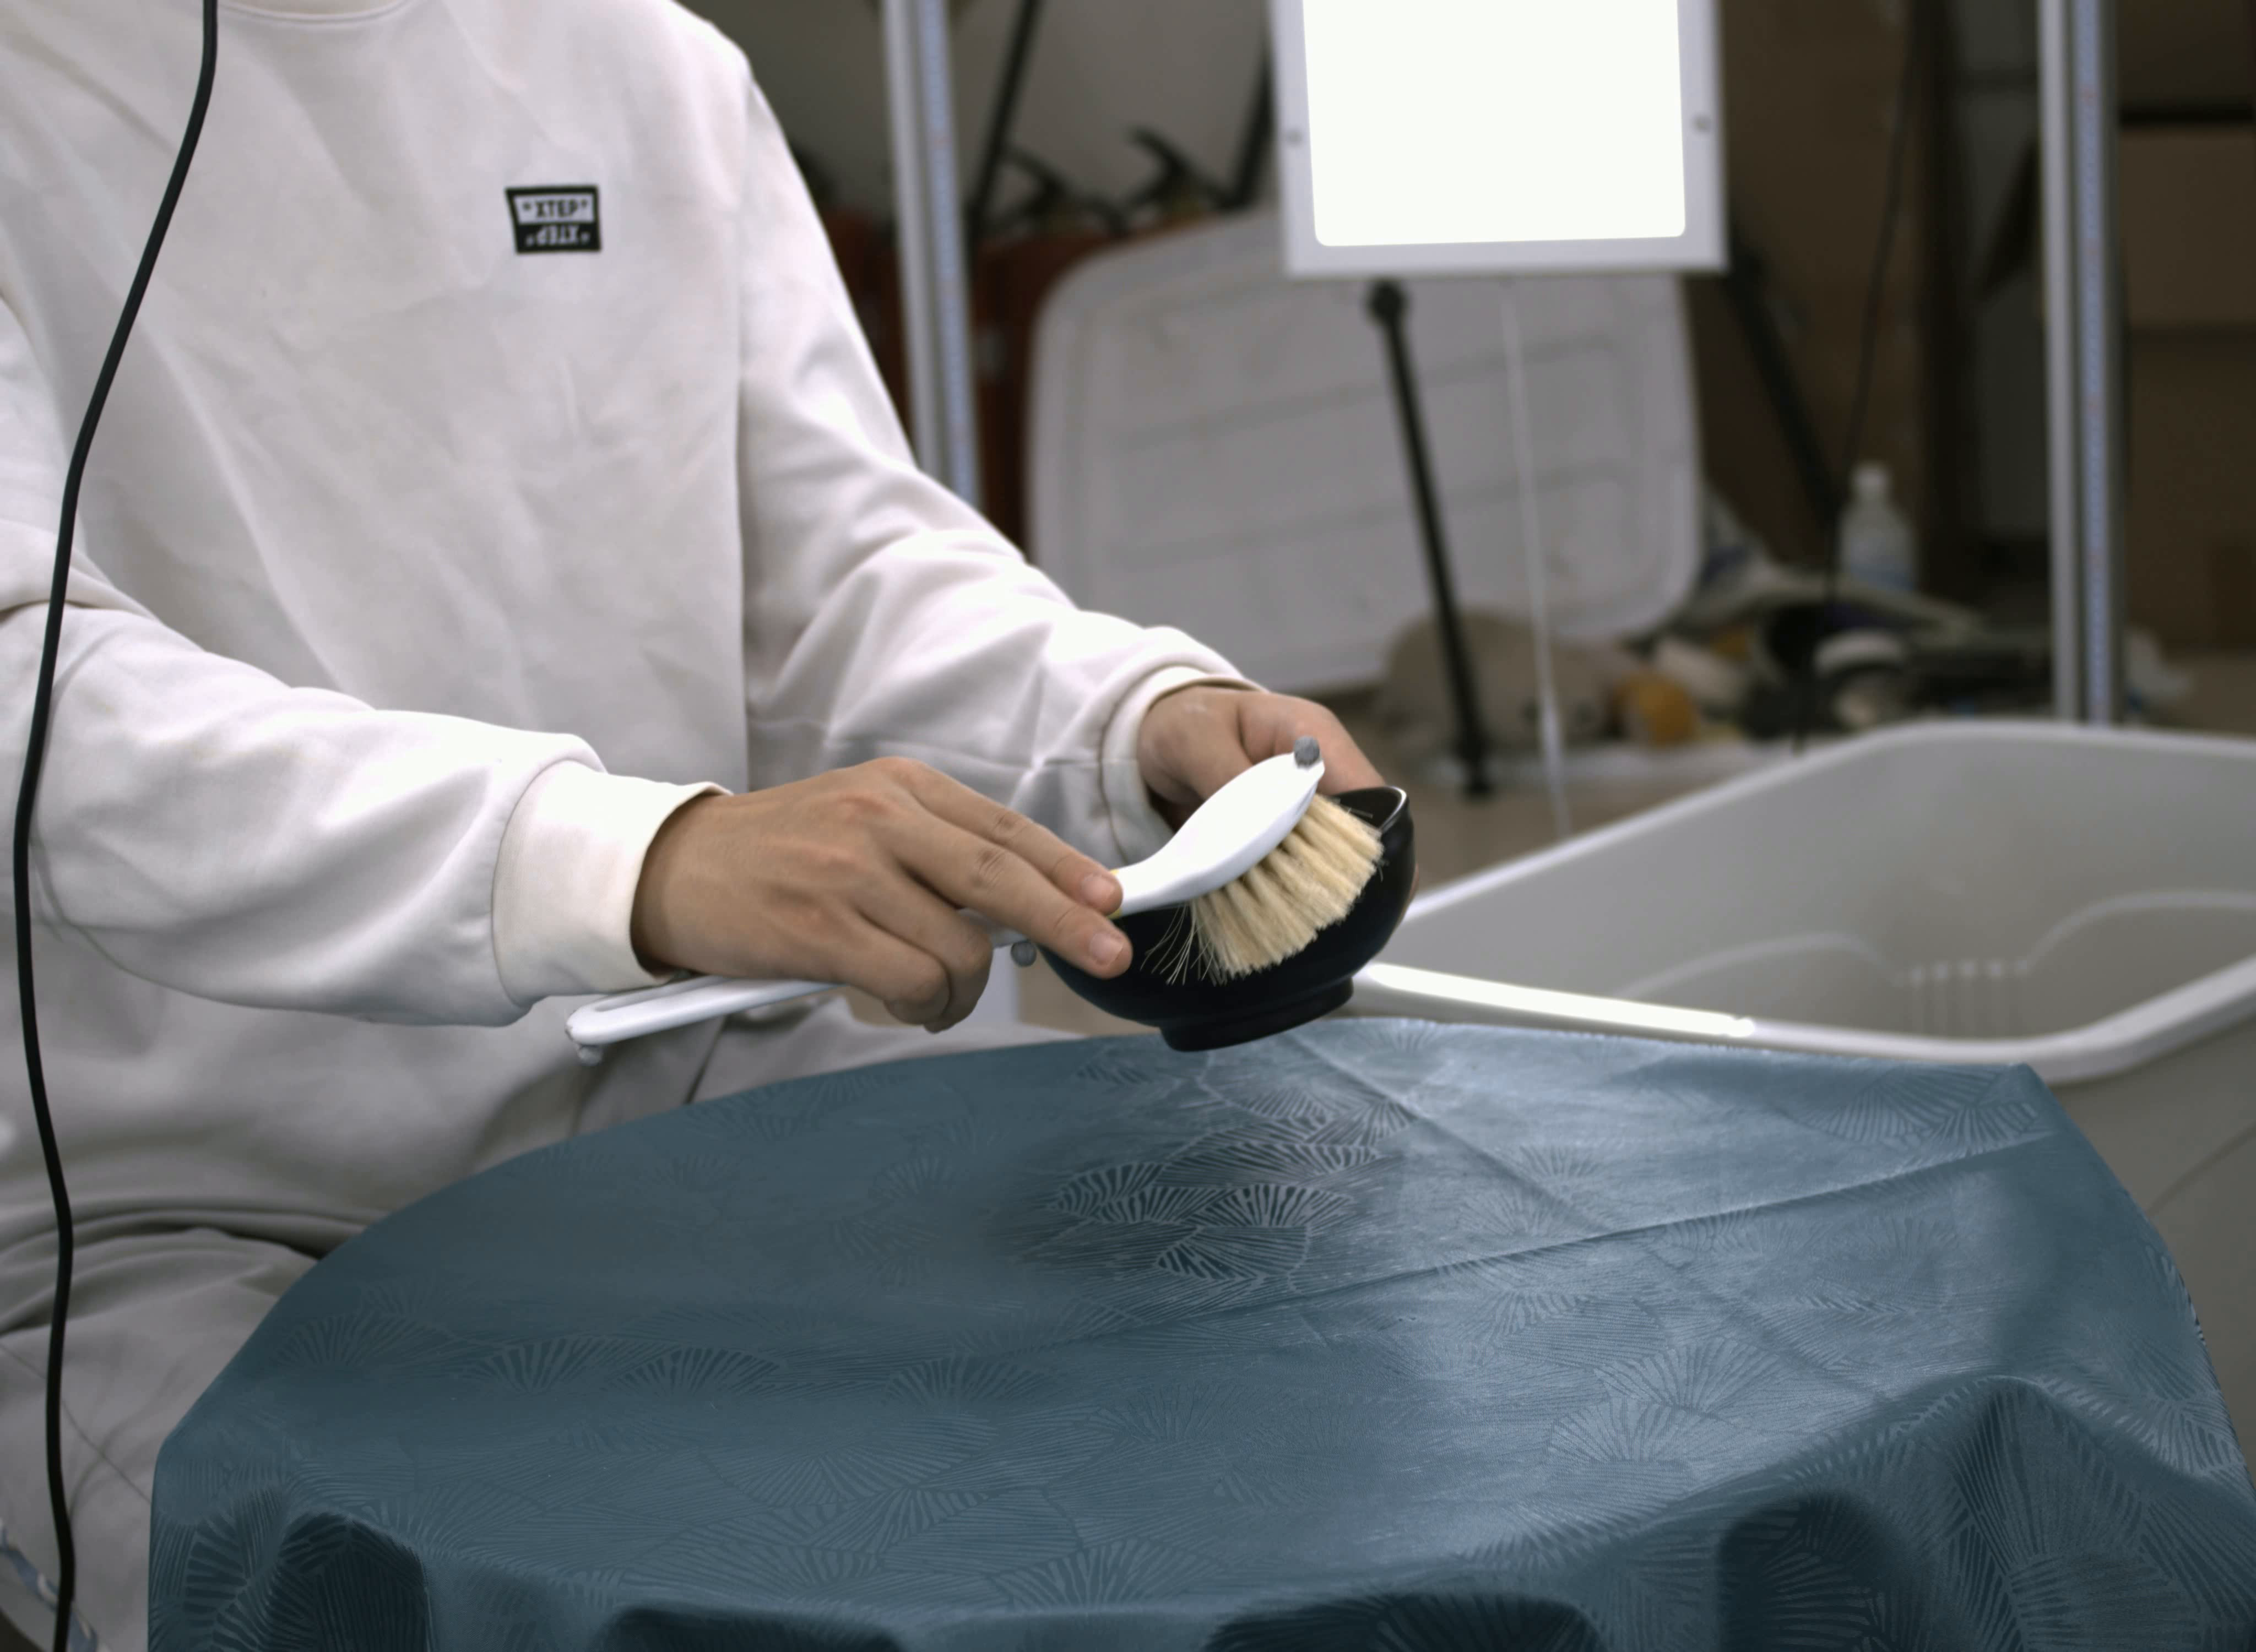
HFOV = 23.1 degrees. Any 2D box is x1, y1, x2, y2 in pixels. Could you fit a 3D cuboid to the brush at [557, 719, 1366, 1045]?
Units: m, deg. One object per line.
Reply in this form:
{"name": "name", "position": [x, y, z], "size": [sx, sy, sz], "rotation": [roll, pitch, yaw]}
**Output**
{"name": "brush", "position": [-0.050, 0.039, 1.761], "size": [0.266, 0.056, 0.068], "rotation": [-22, 10, 2]}

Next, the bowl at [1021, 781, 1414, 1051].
{"name": "bowl", "position": [0.036, 0.037, 1.882], "size": [0.136, 0.067, 0.172], "rotation": [-19, 6, -12]}
